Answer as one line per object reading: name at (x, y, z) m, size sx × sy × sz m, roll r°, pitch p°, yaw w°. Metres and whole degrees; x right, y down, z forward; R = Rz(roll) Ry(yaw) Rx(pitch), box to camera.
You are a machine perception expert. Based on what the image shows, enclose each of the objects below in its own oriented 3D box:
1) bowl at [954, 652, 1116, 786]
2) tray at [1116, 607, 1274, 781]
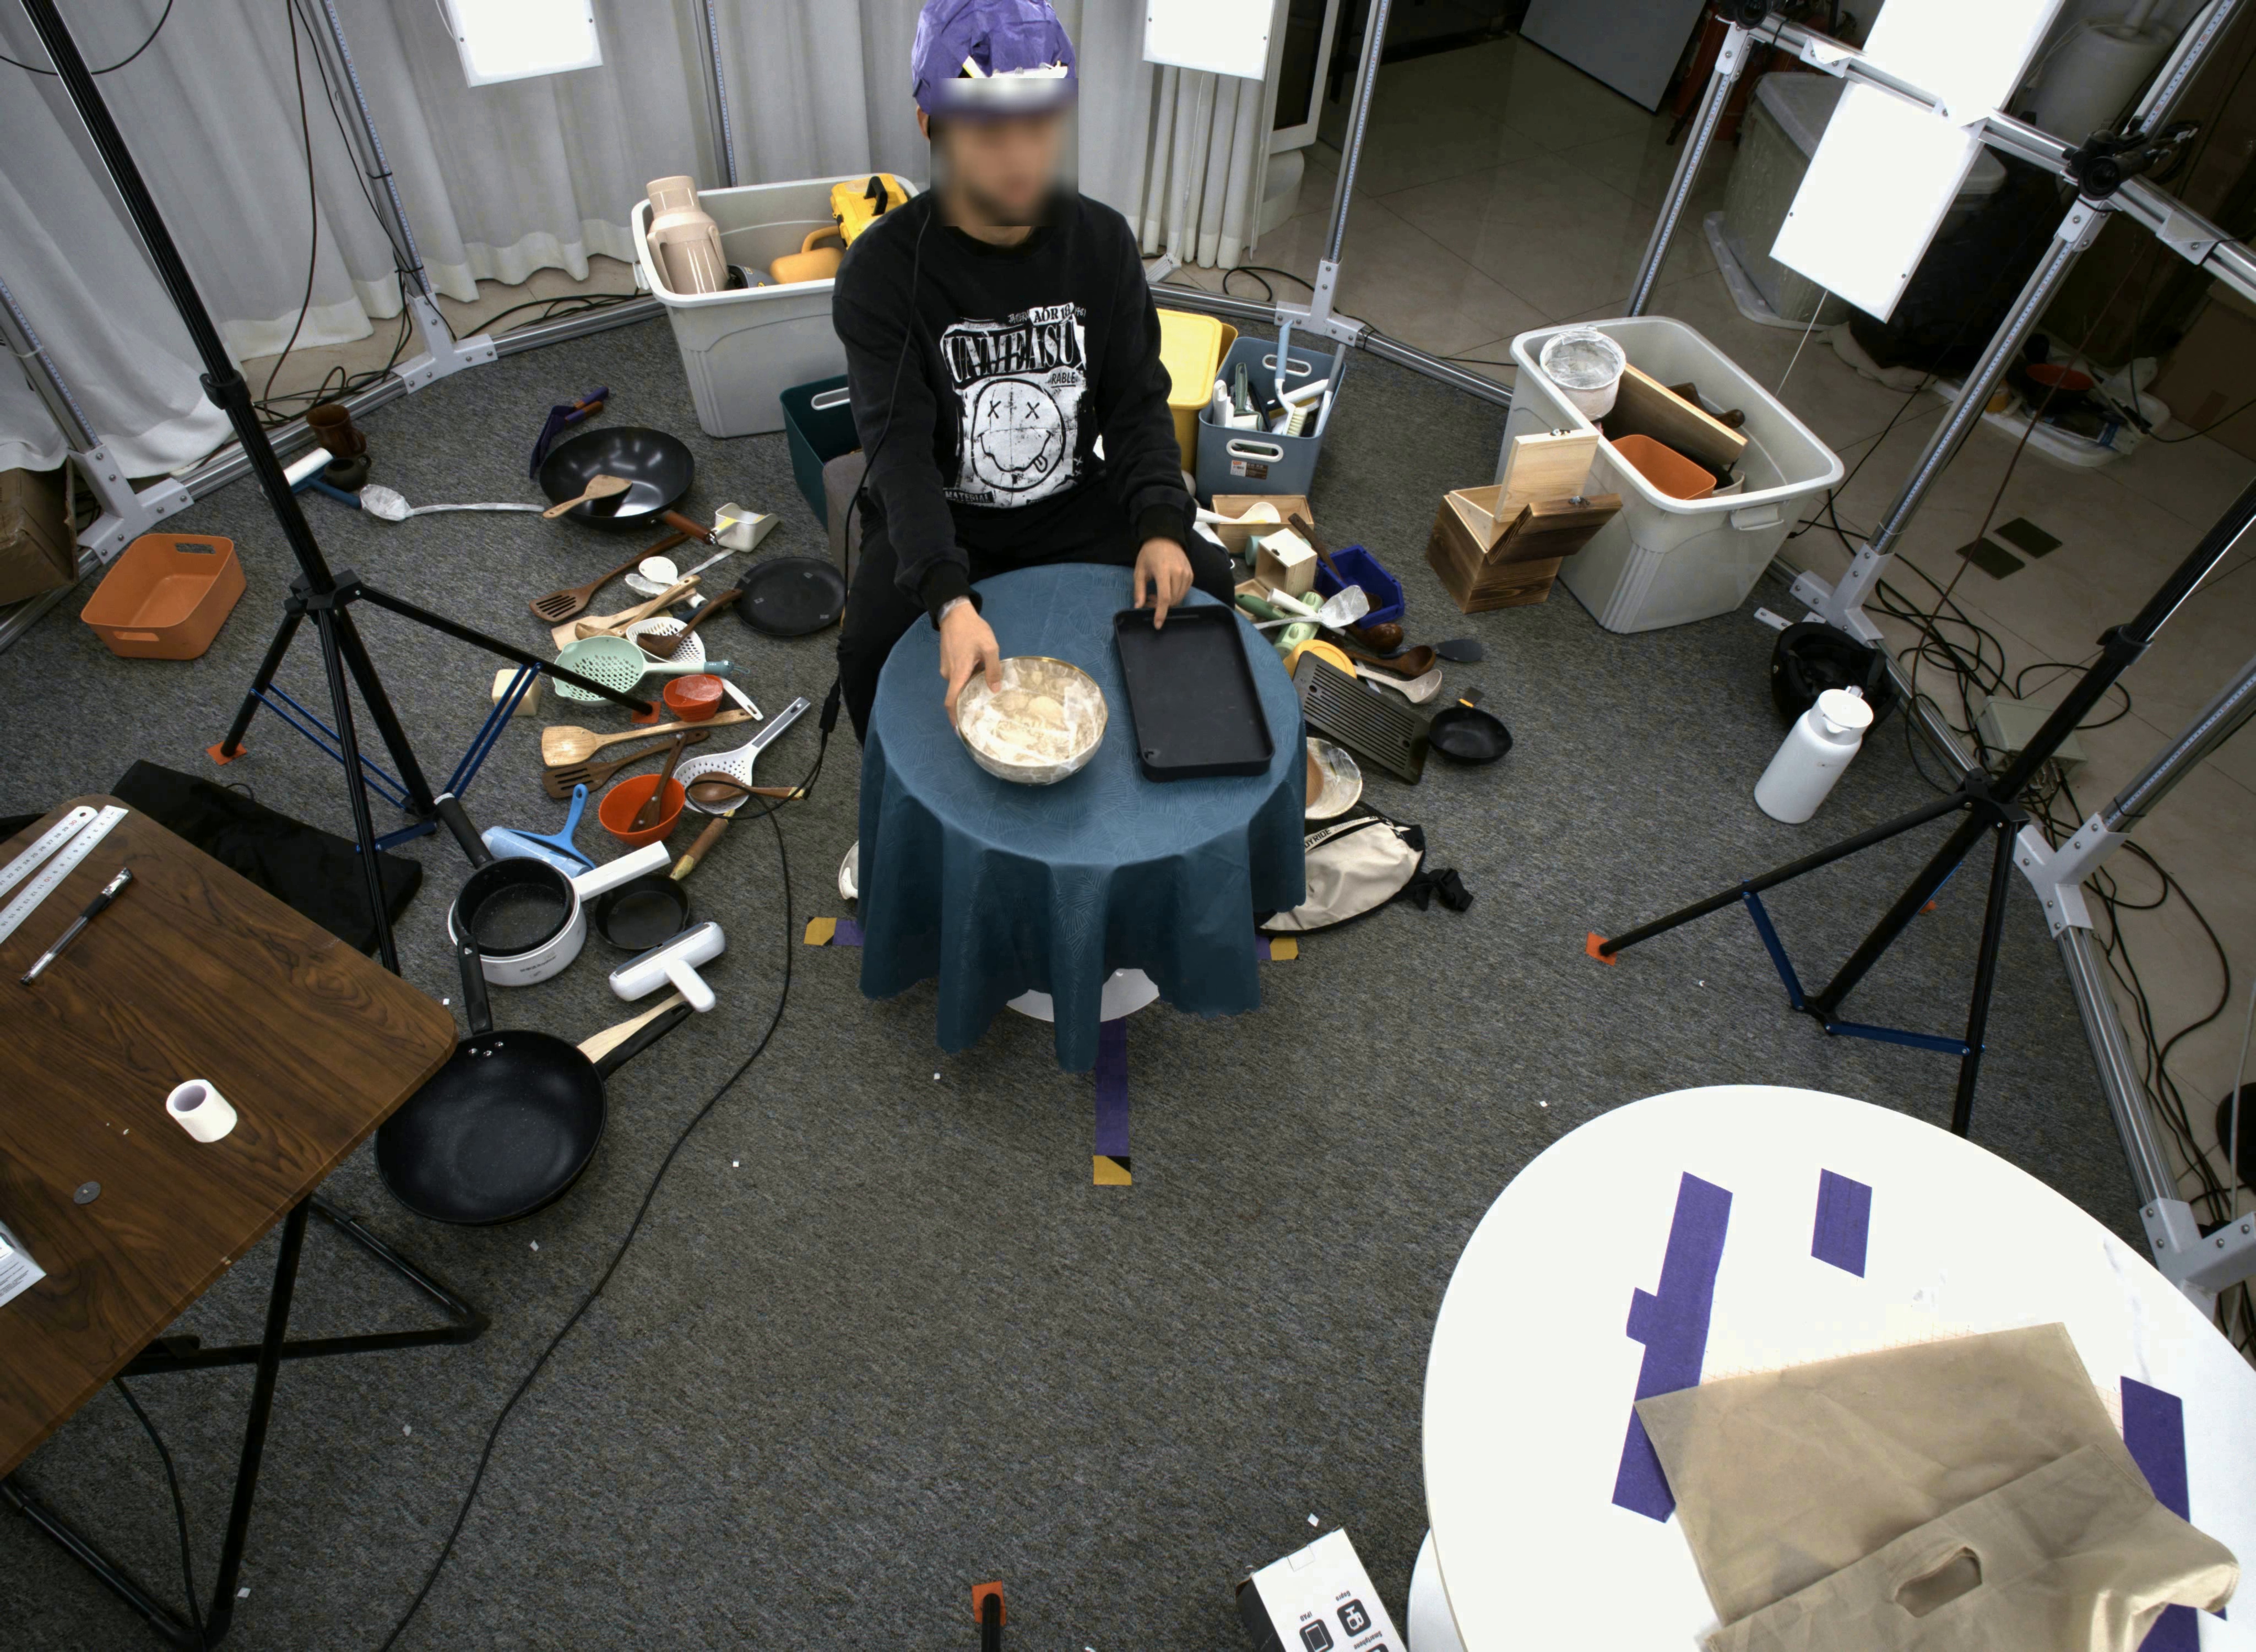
bowl at (-0.126, -0.128, 1.727) m, size 0.214 × 0.092 × 0.220 m, roll 1°, pitch 50°, yaw -2°
tray at (0.090, -0.194, 1.833) m, size 0.184 × 0.036 × 0.326 m, roll -4°, pitch 48°, yaw -6°
